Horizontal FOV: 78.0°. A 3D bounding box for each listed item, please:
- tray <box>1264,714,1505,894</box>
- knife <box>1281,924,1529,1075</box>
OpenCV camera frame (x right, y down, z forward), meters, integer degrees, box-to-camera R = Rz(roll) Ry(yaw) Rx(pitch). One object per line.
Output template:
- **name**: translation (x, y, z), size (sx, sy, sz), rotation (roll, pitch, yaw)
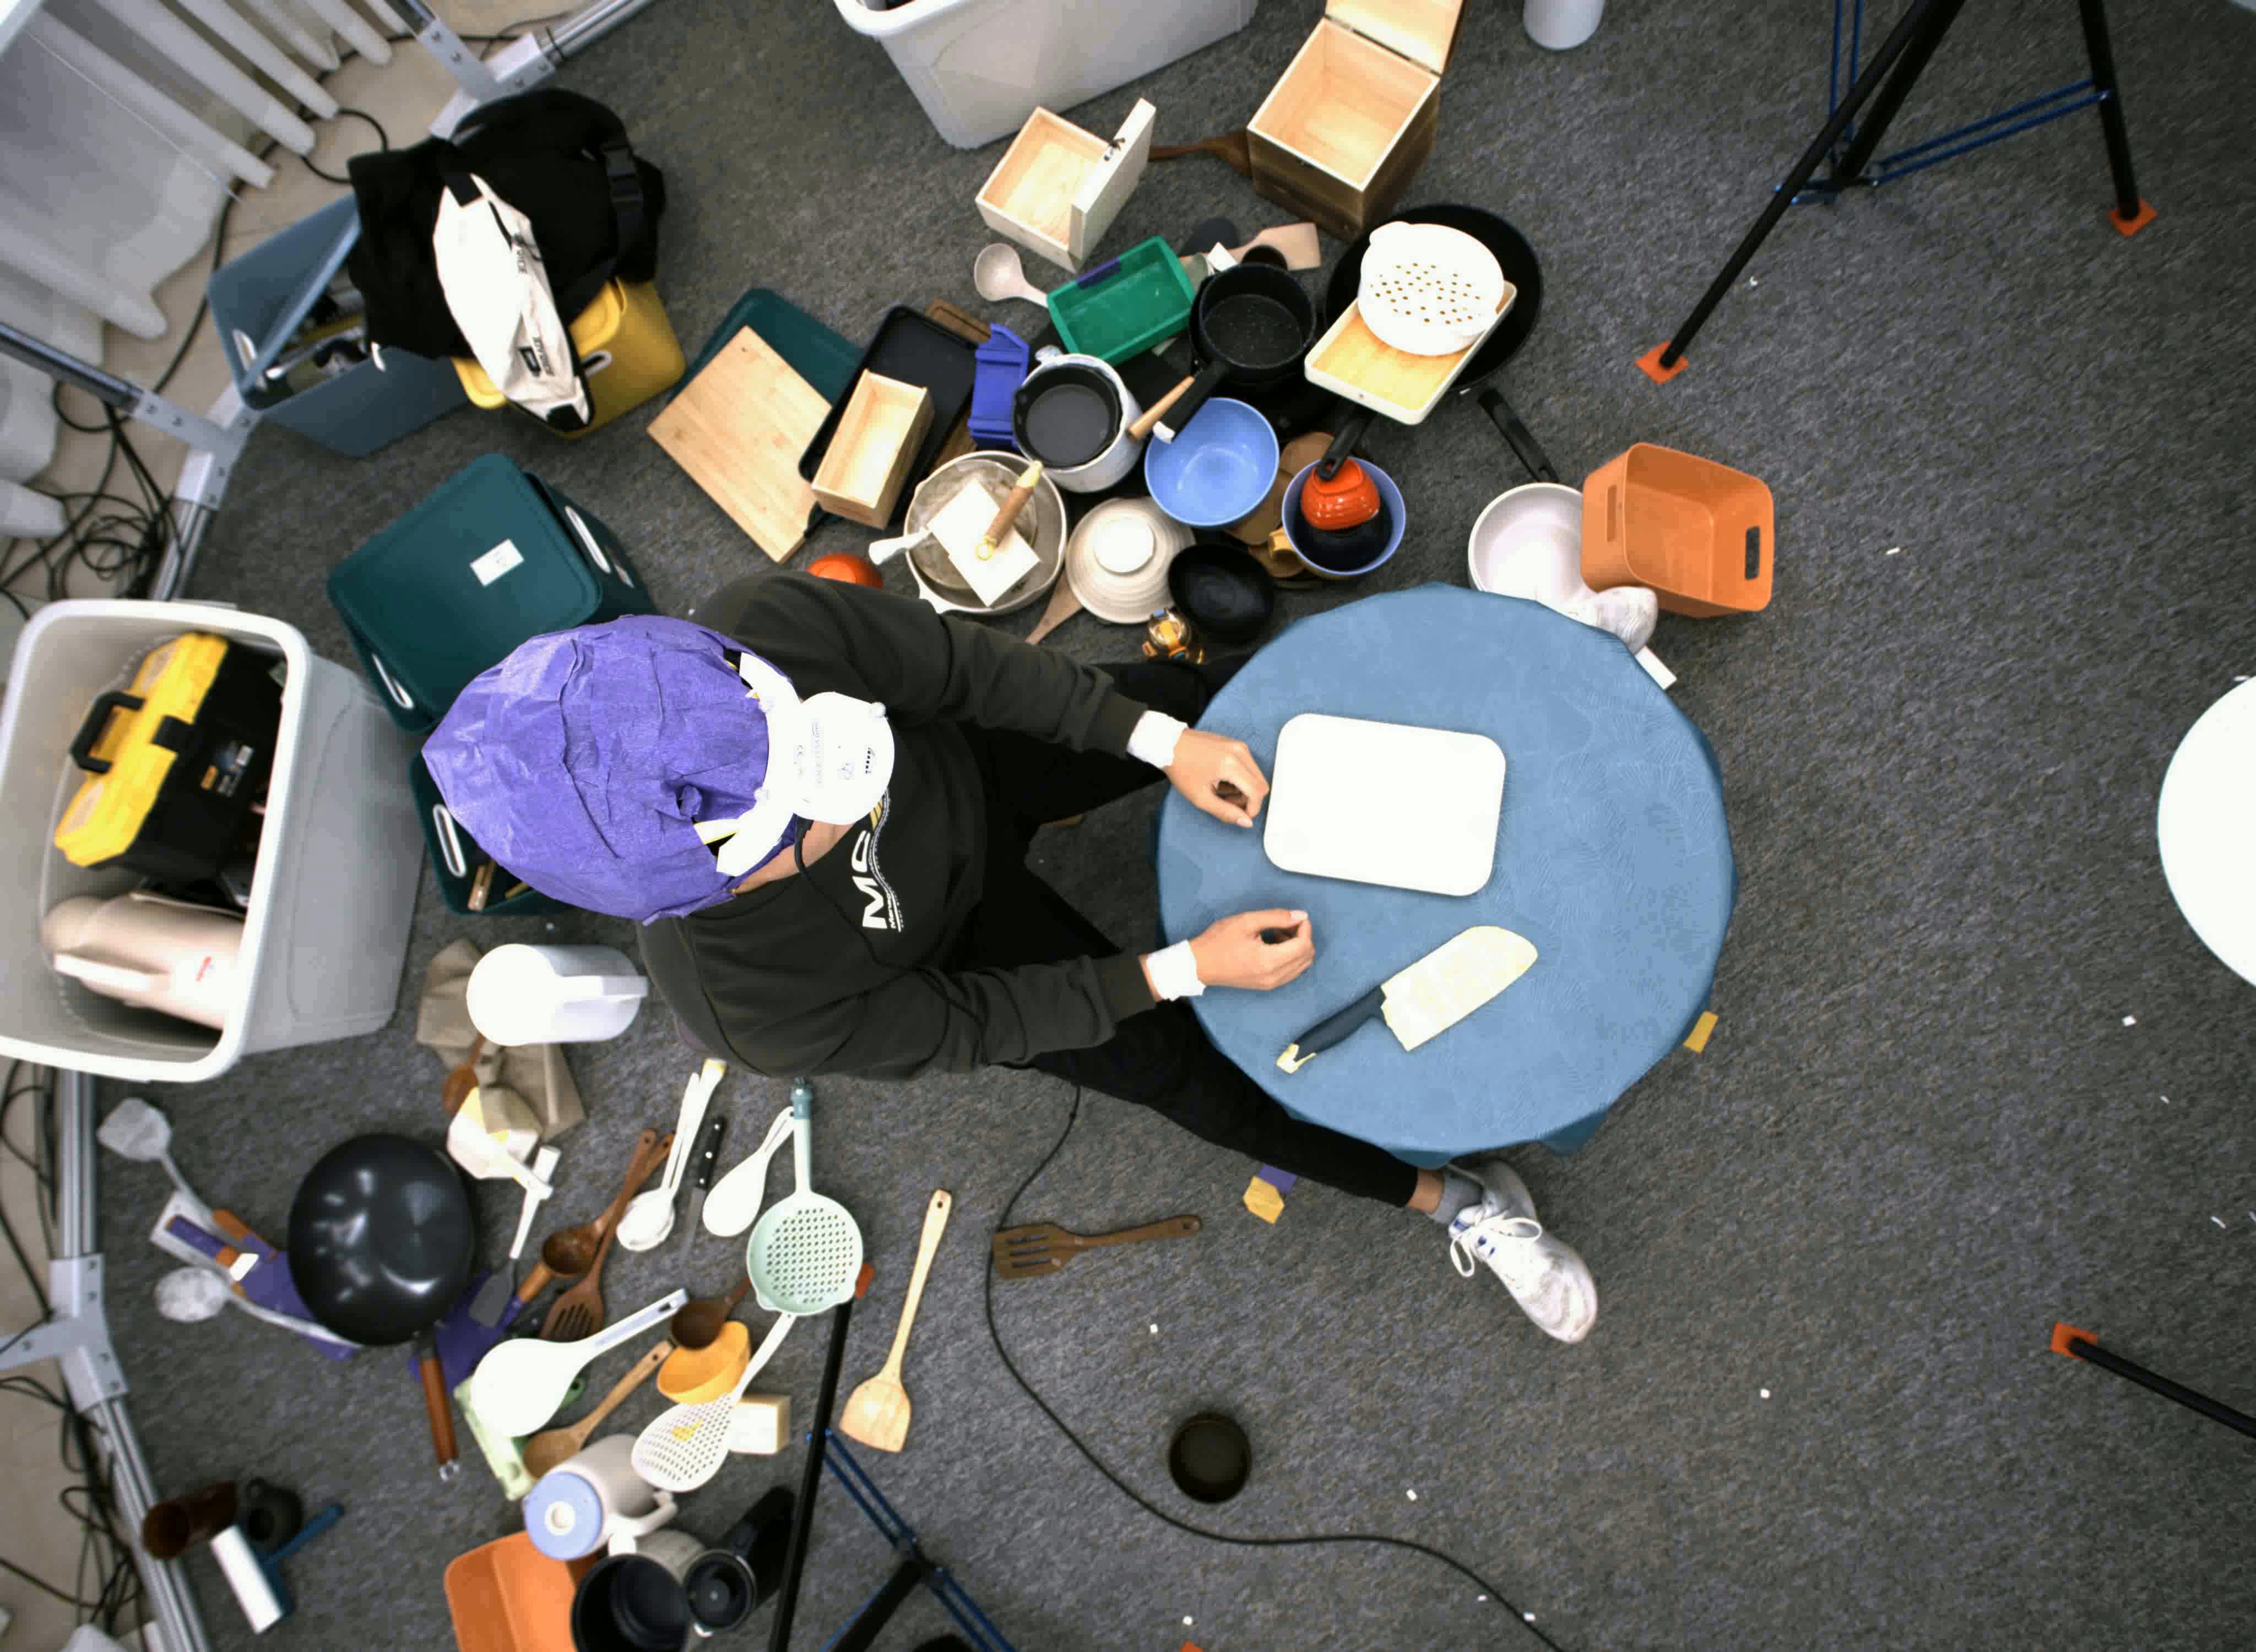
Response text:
- **tray**: translation (0.270, -0.025, 1.456), size (0.240, 0.017, 0.171), rotation (8, 89, 11)
- **knife**: translation (0.291, 0.188, 1.442), size (0.291, 0.027, 0.080), rotation (-31, 80, 7)
